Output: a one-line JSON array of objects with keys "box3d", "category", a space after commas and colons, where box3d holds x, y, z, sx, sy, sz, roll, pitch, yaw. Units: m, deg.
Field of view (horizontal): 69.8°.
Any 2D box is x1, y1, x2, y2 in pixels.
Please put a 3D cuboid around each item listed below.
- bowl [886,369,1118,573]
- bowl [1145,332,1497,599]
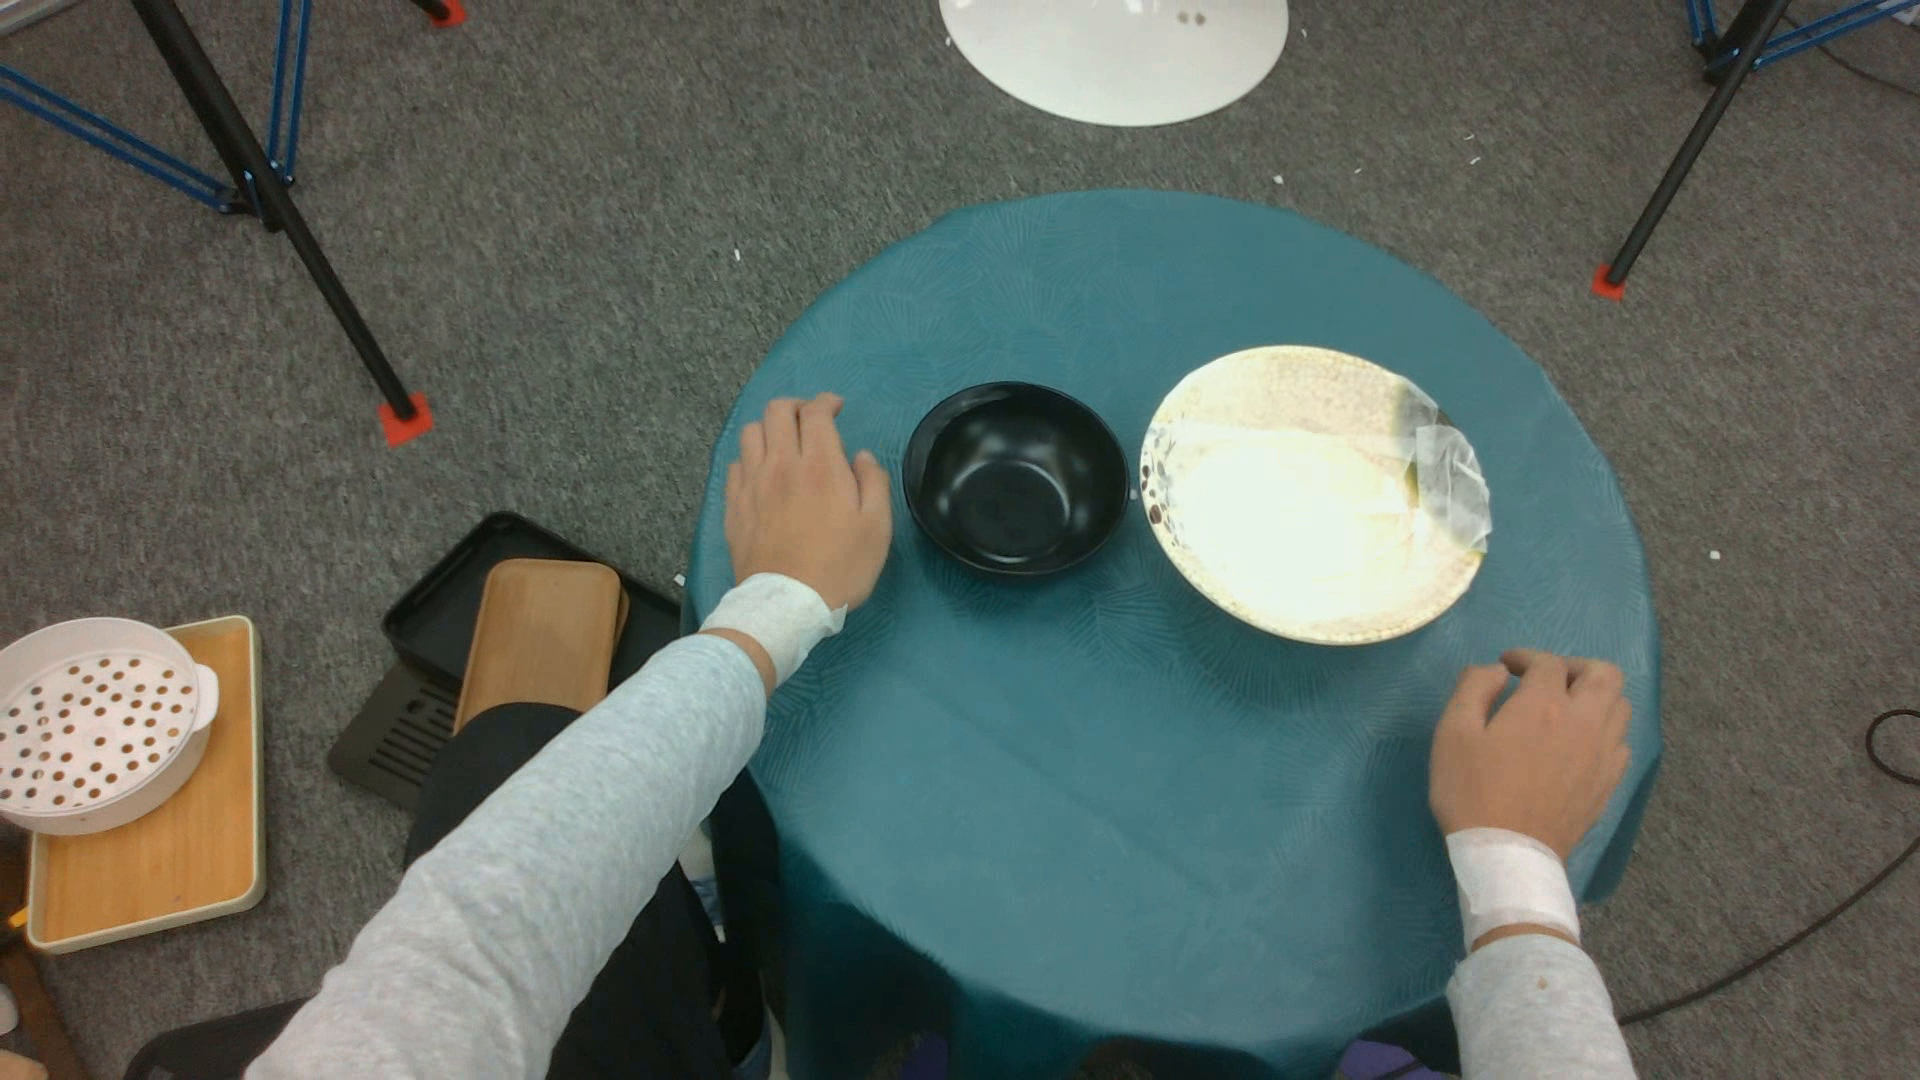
[{"box3d": [0.025, -0.035, 0.846, 0.140, 0.049, 0.140, 1, 61, -1], "category": "bowl"}, {"box3d": [0.206, -0.028, 0.825, 0.204, 0.077, 0.205, 3, 52, -3], "category": "bowl"}]
